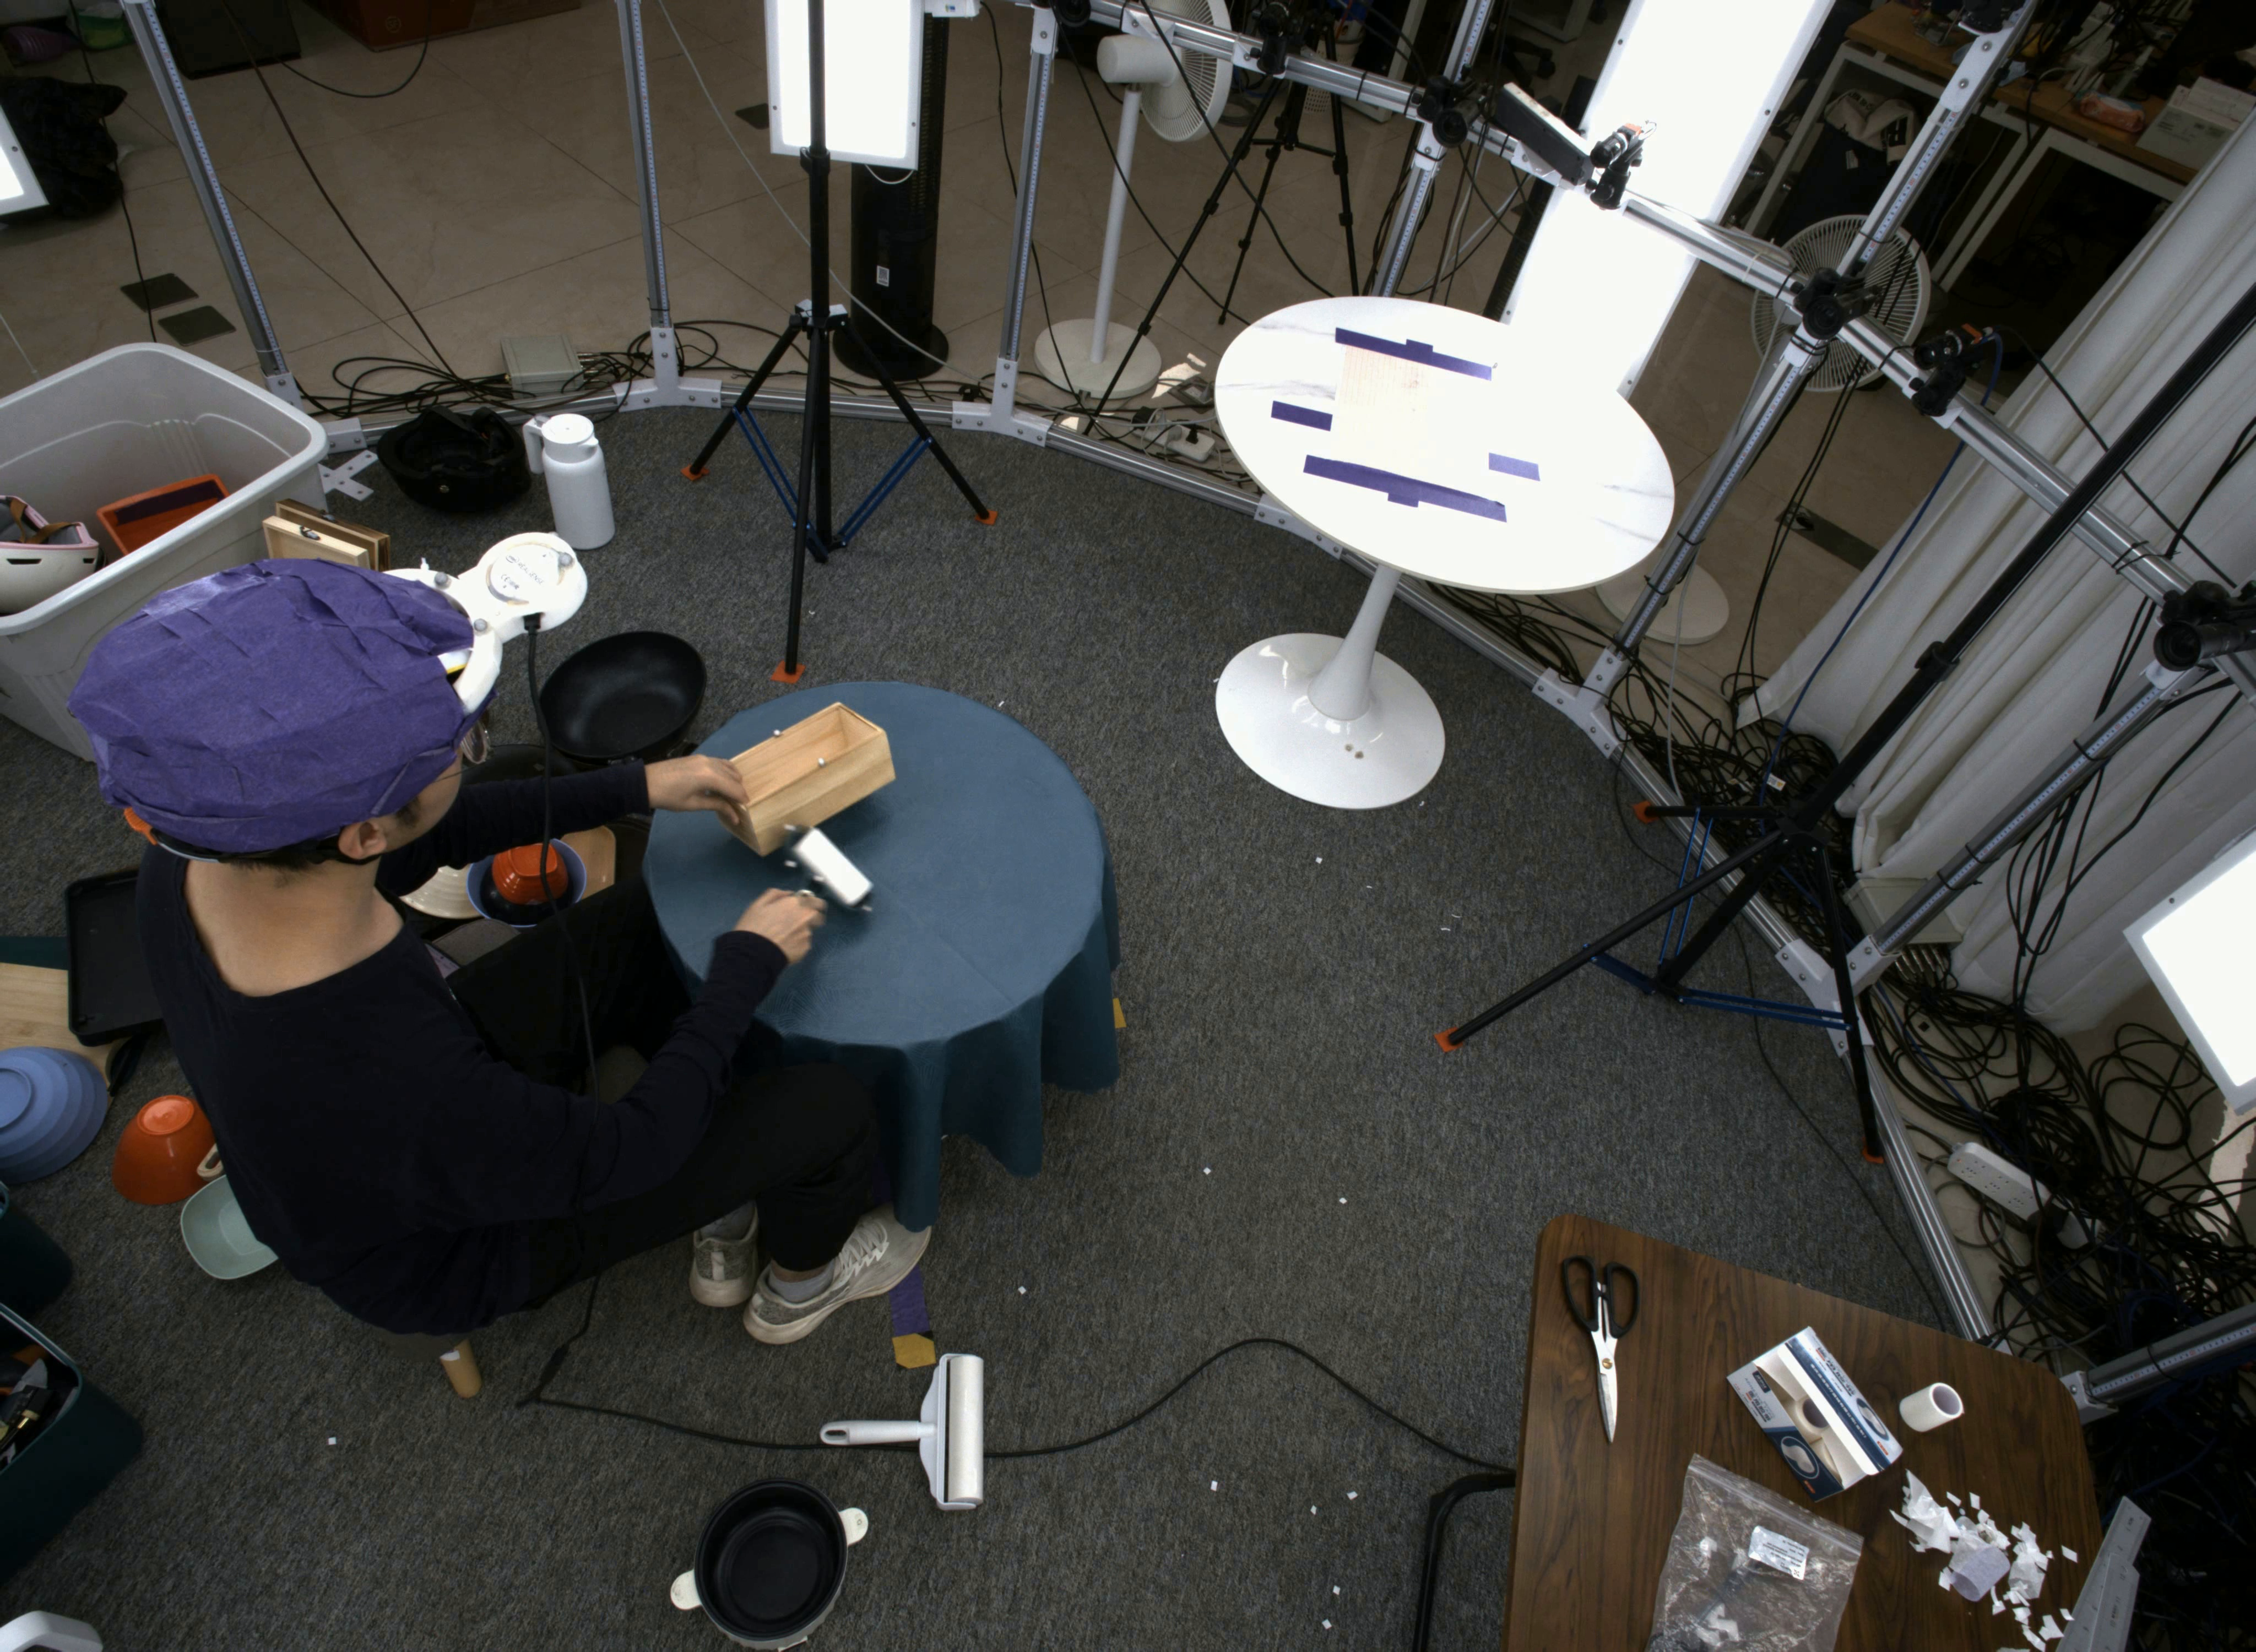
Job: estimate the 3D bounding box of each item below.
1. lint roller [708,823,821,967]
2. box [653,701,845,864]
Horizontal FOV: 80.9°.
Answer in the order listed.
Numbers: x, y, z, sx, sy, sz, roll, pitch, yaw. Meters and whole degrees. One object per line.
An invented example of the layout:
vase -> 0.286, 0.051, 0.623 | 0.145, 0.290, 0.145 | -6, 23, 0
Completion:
lint roller -> -0.451, 0.095, 1.555 | 0.138, 0.048, 0.177 | 46, 33, -21
box -> -0.484, -0.059, 1.659 | 0.103, 0.083, 0.211 | 26, 51, 32
